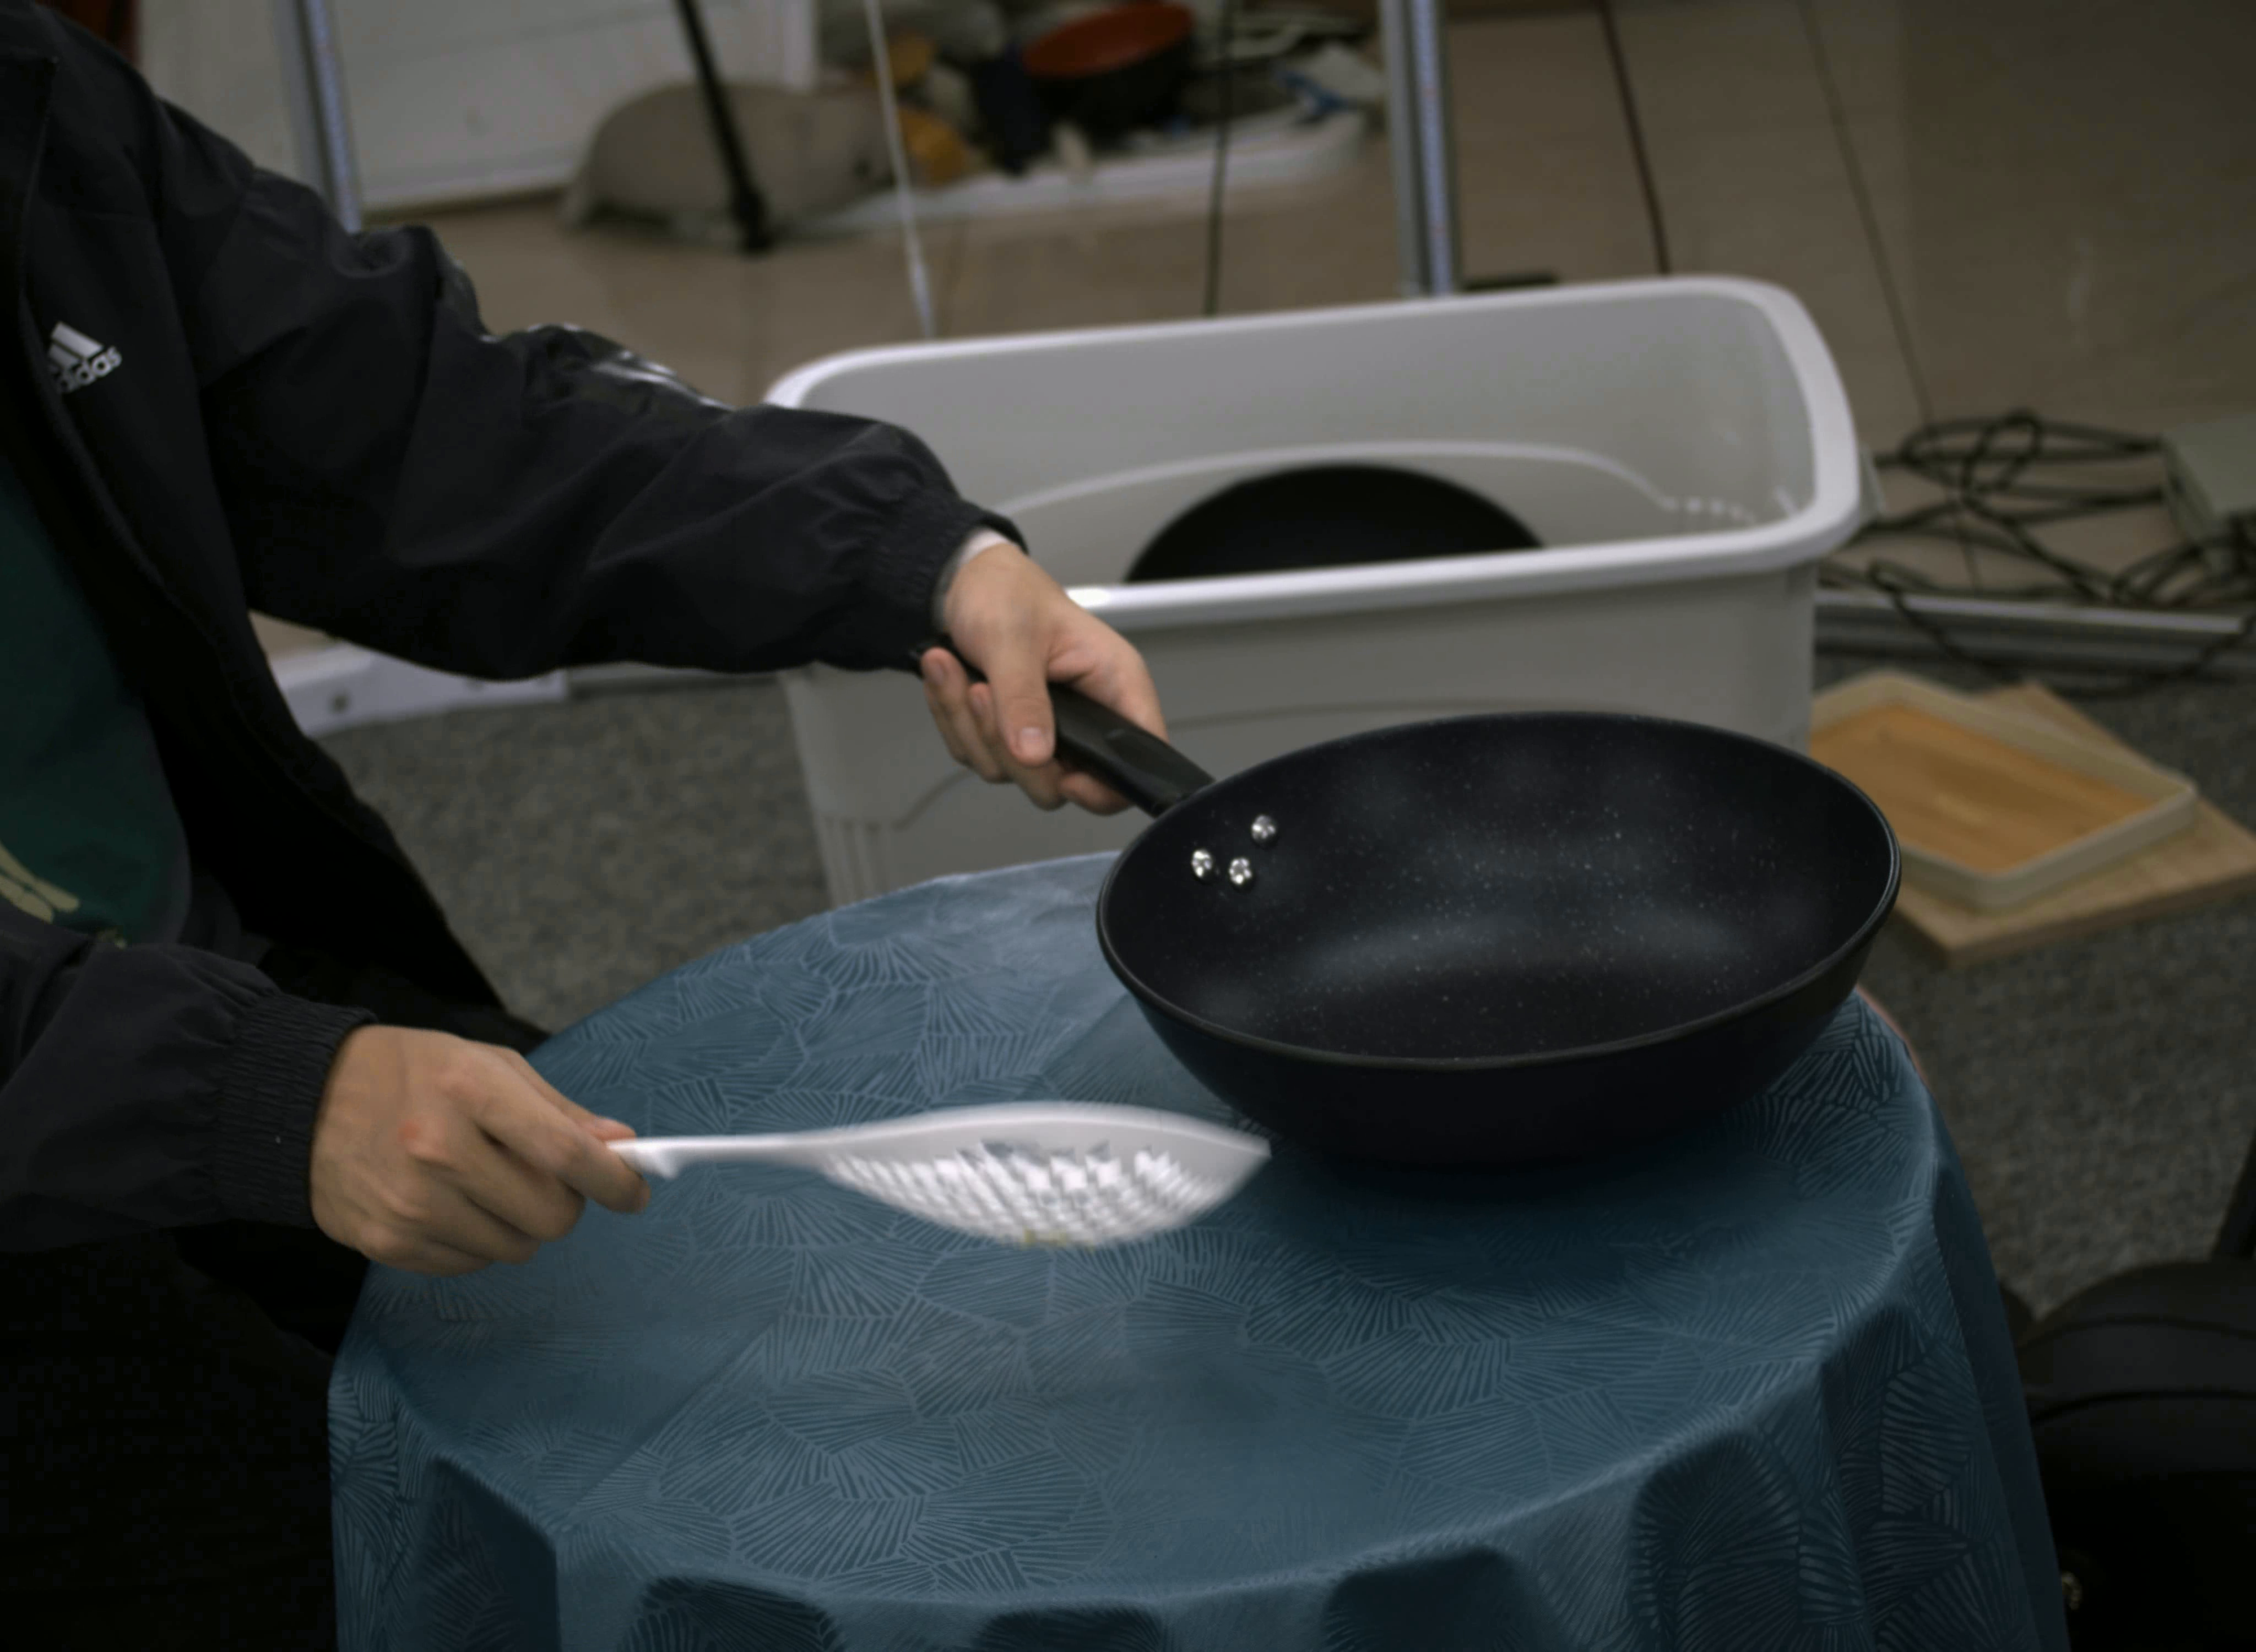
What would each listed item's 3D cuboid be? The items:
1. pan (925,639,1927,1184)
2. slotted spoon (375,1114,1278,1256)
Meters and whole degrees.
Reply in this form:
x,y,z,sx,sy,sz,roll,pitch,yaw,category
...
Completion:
x,y,z,sx,sy,sz,roll,pitch,yaw,category
0.092,0.030,2.231,0.473,0.113,0.307,19,33,42,pan
-0.114,0.128,2.009,0.347,0.050,0.137,0,-7,27,slotted spoon
